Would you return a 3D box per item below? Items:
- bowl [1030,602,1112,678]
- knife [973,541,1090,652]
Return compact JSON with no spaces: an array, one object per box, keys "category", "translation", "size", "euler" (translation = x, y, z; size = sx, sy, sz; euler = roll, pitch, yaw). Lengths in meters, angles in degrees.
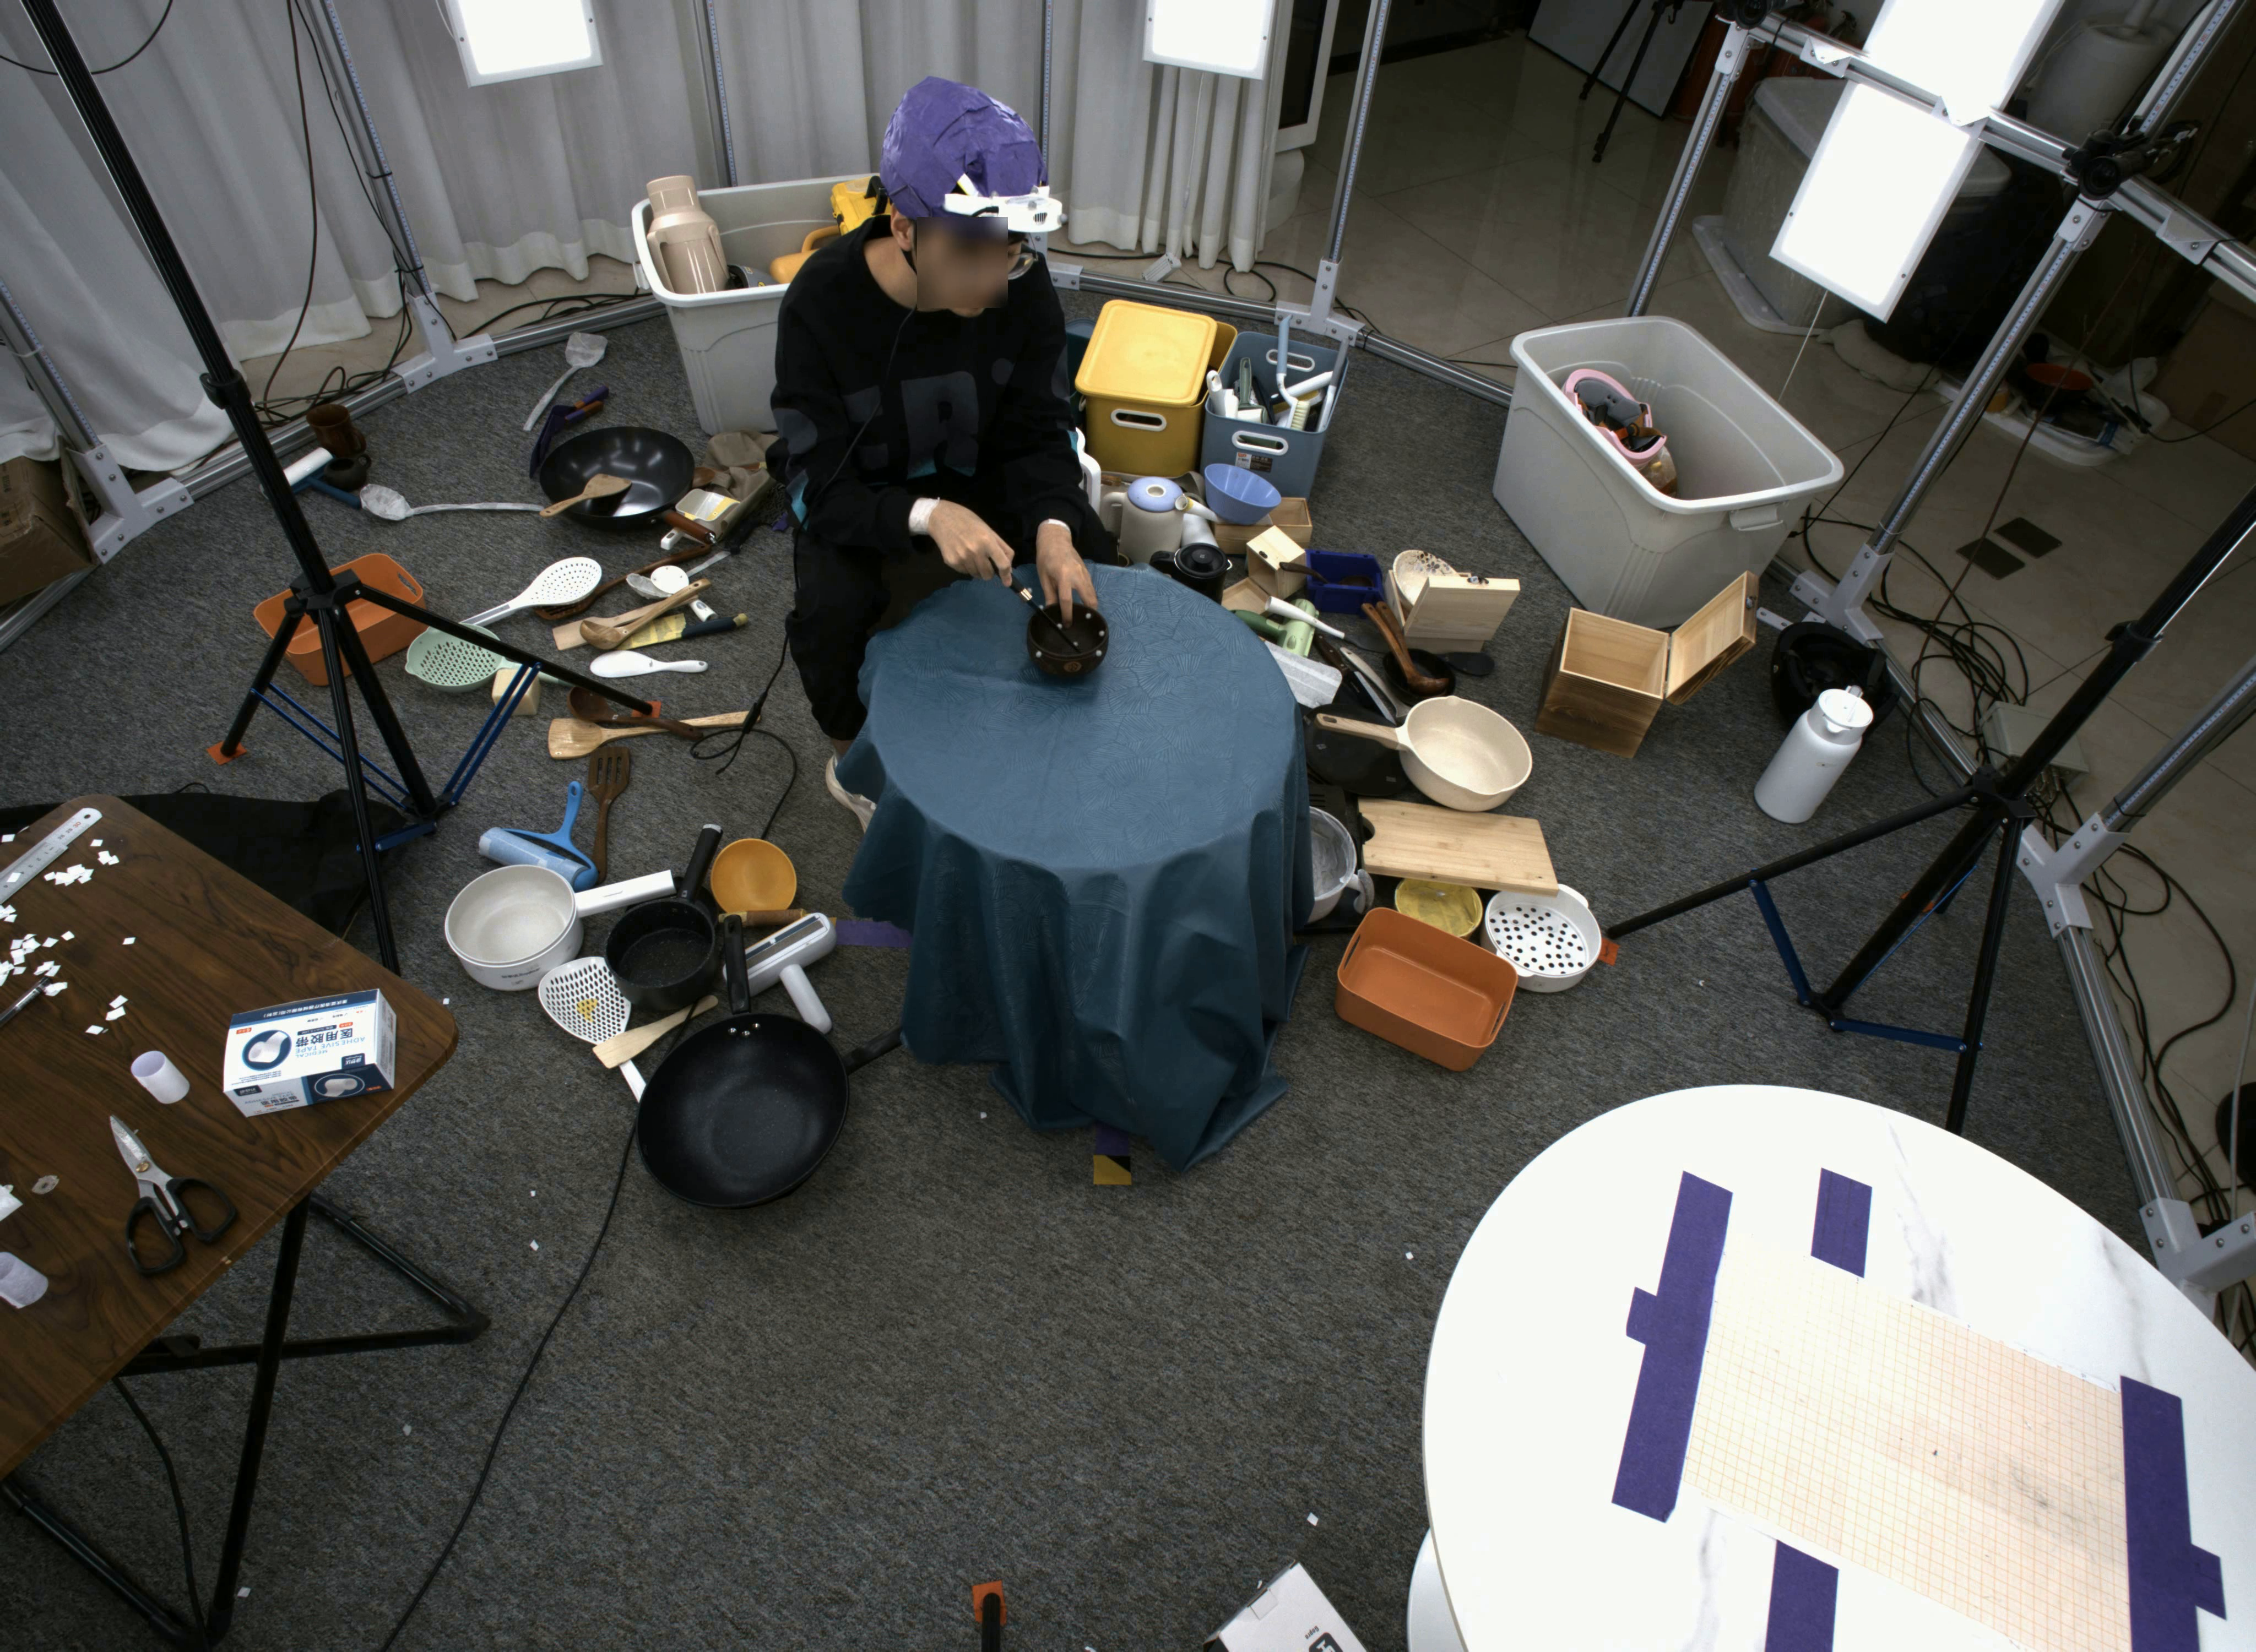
[{"category":"bowl","translation":[-0.082,-0.257,1.838],"size":[0.118,0.068,0.121],"euler":[2,47,-3]},{"category":"knife","translation":[-0.133,-0.321,1.825],"size":[0.224,0.017,0.026],"euler":[44,30,-10]}]
